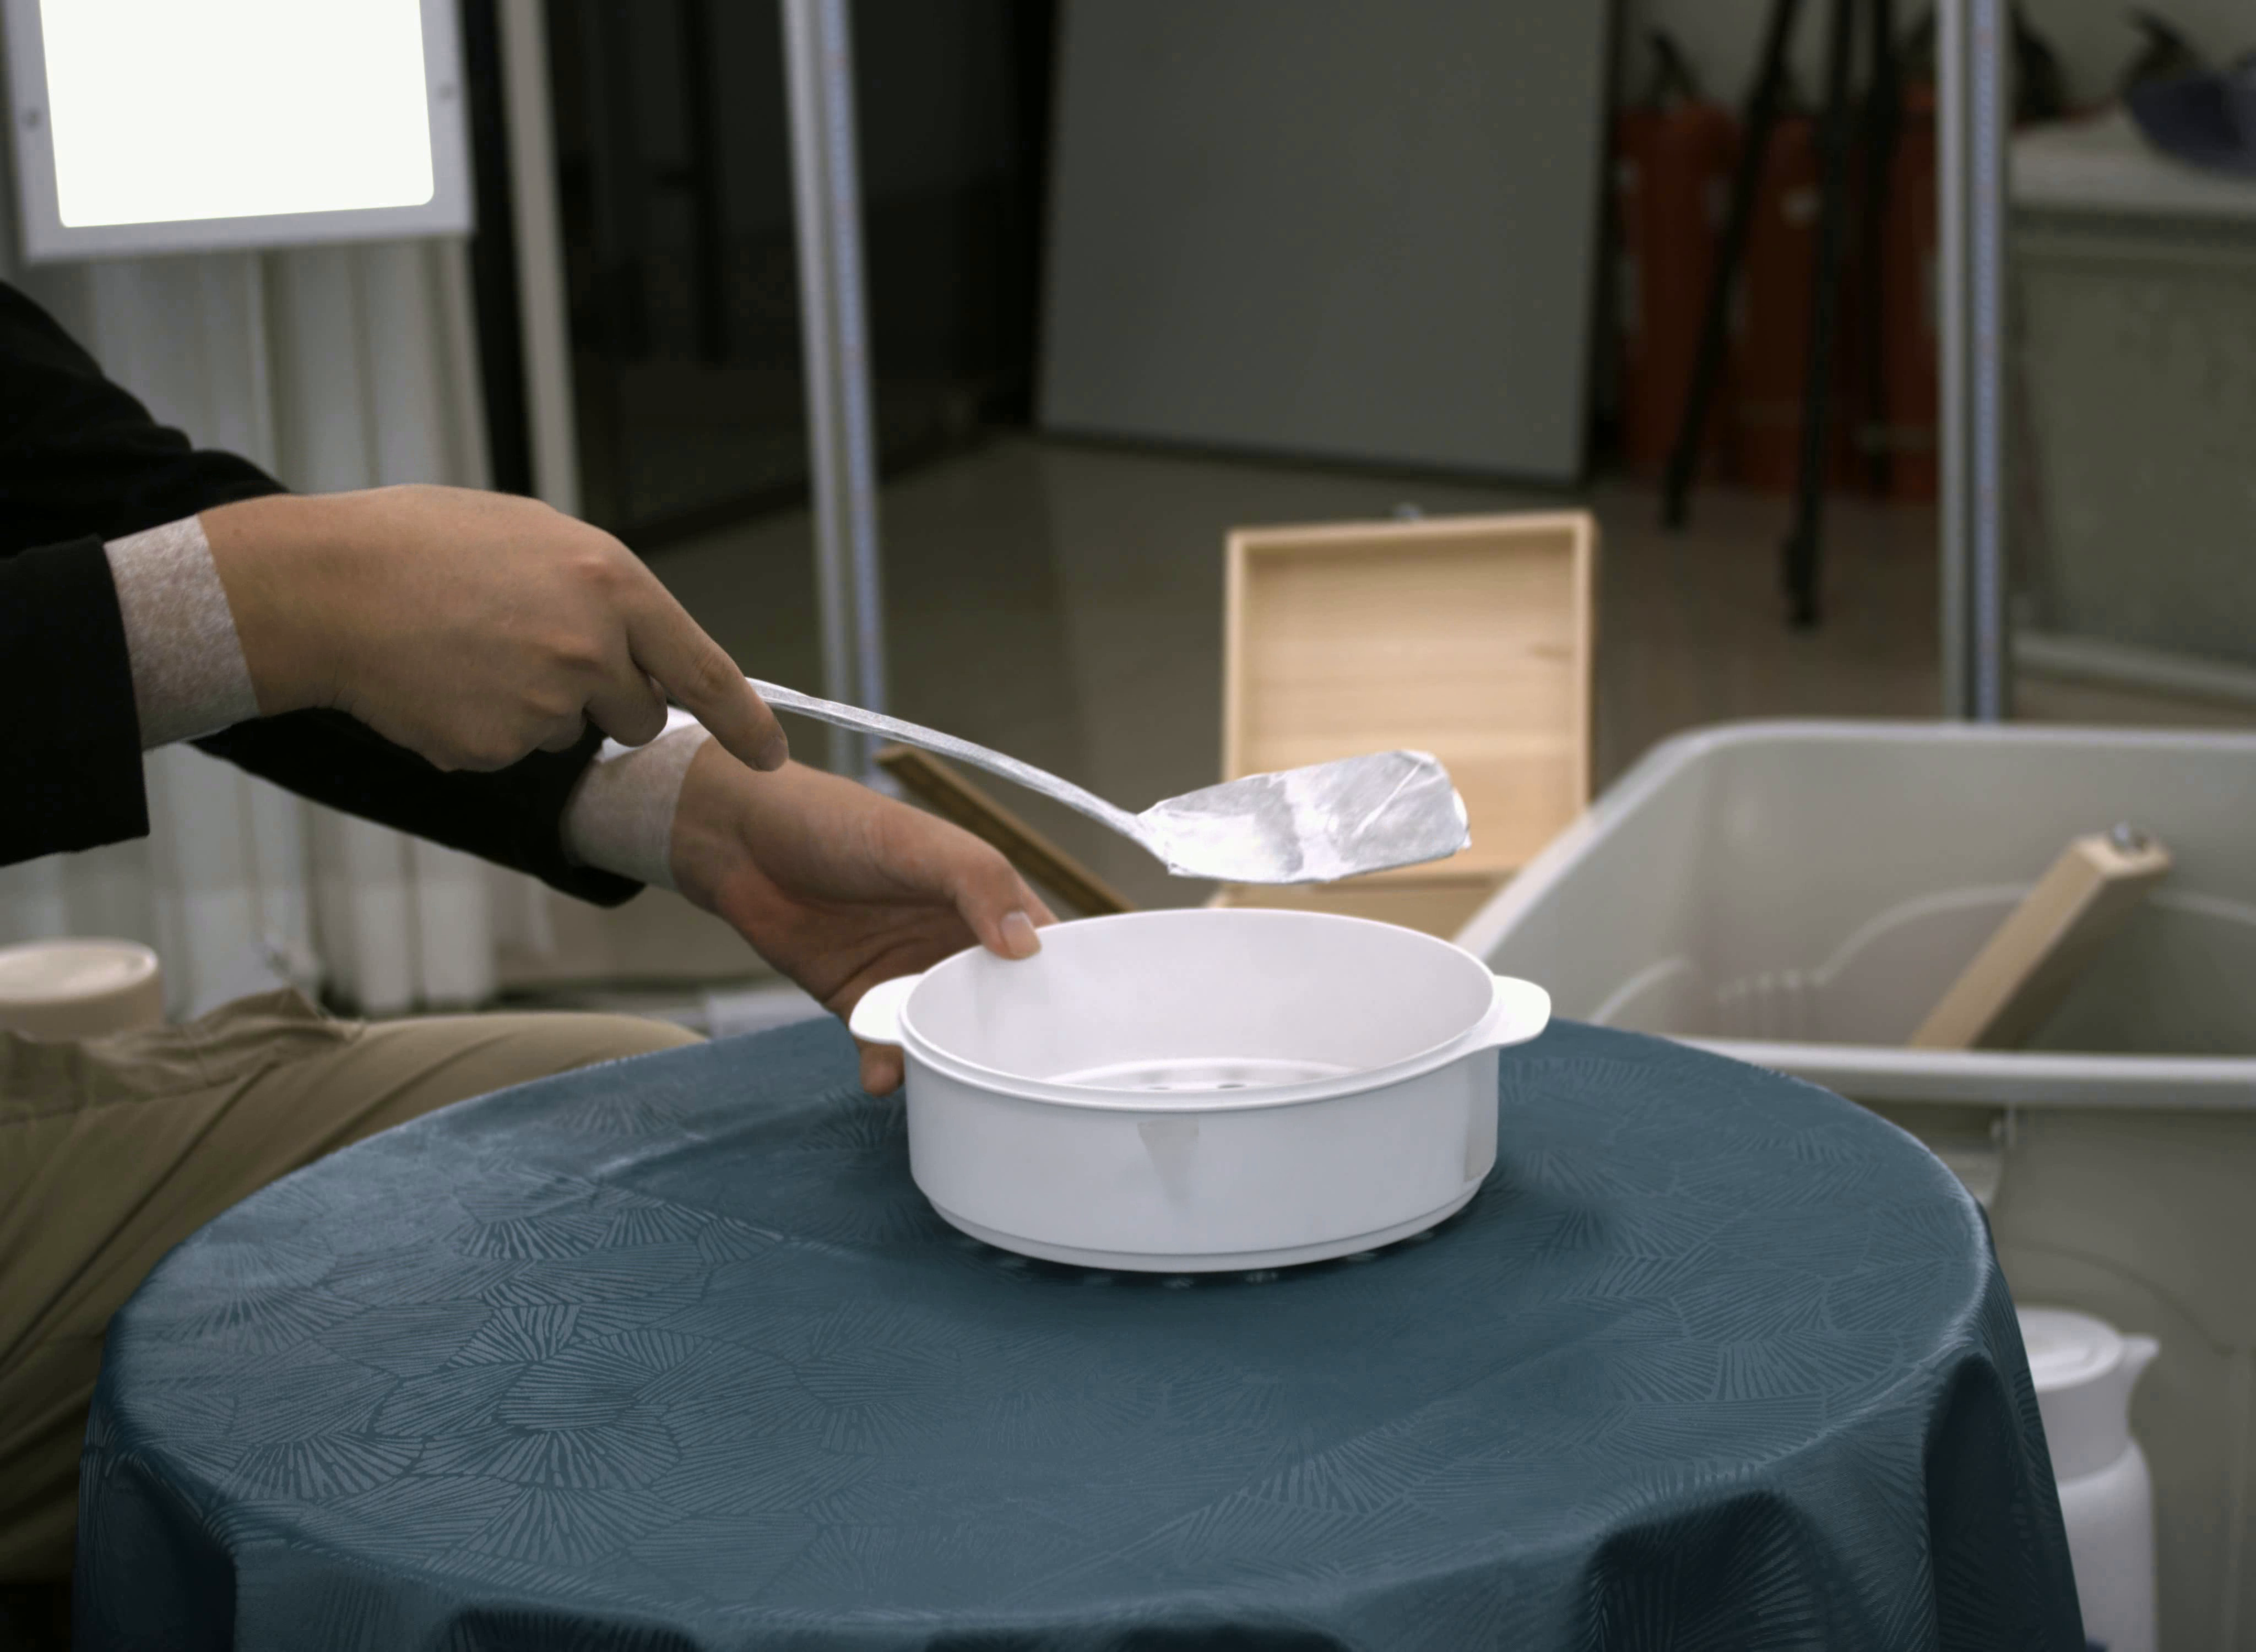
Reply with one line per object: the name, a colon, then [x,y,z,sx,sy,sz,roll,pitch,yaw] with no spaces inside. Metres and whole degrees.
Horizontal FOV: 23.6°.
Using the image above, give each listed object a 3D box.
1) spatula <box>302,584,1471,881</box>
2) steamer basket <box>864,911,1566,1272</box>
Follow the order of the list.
spatula: [-0.072,-0.037,1.650,0.359,0.045,0.099,16,21,-7]
steamer basket: [0.029,0.085,1.750,0.229,0.070,0.201,-1,14,10]
